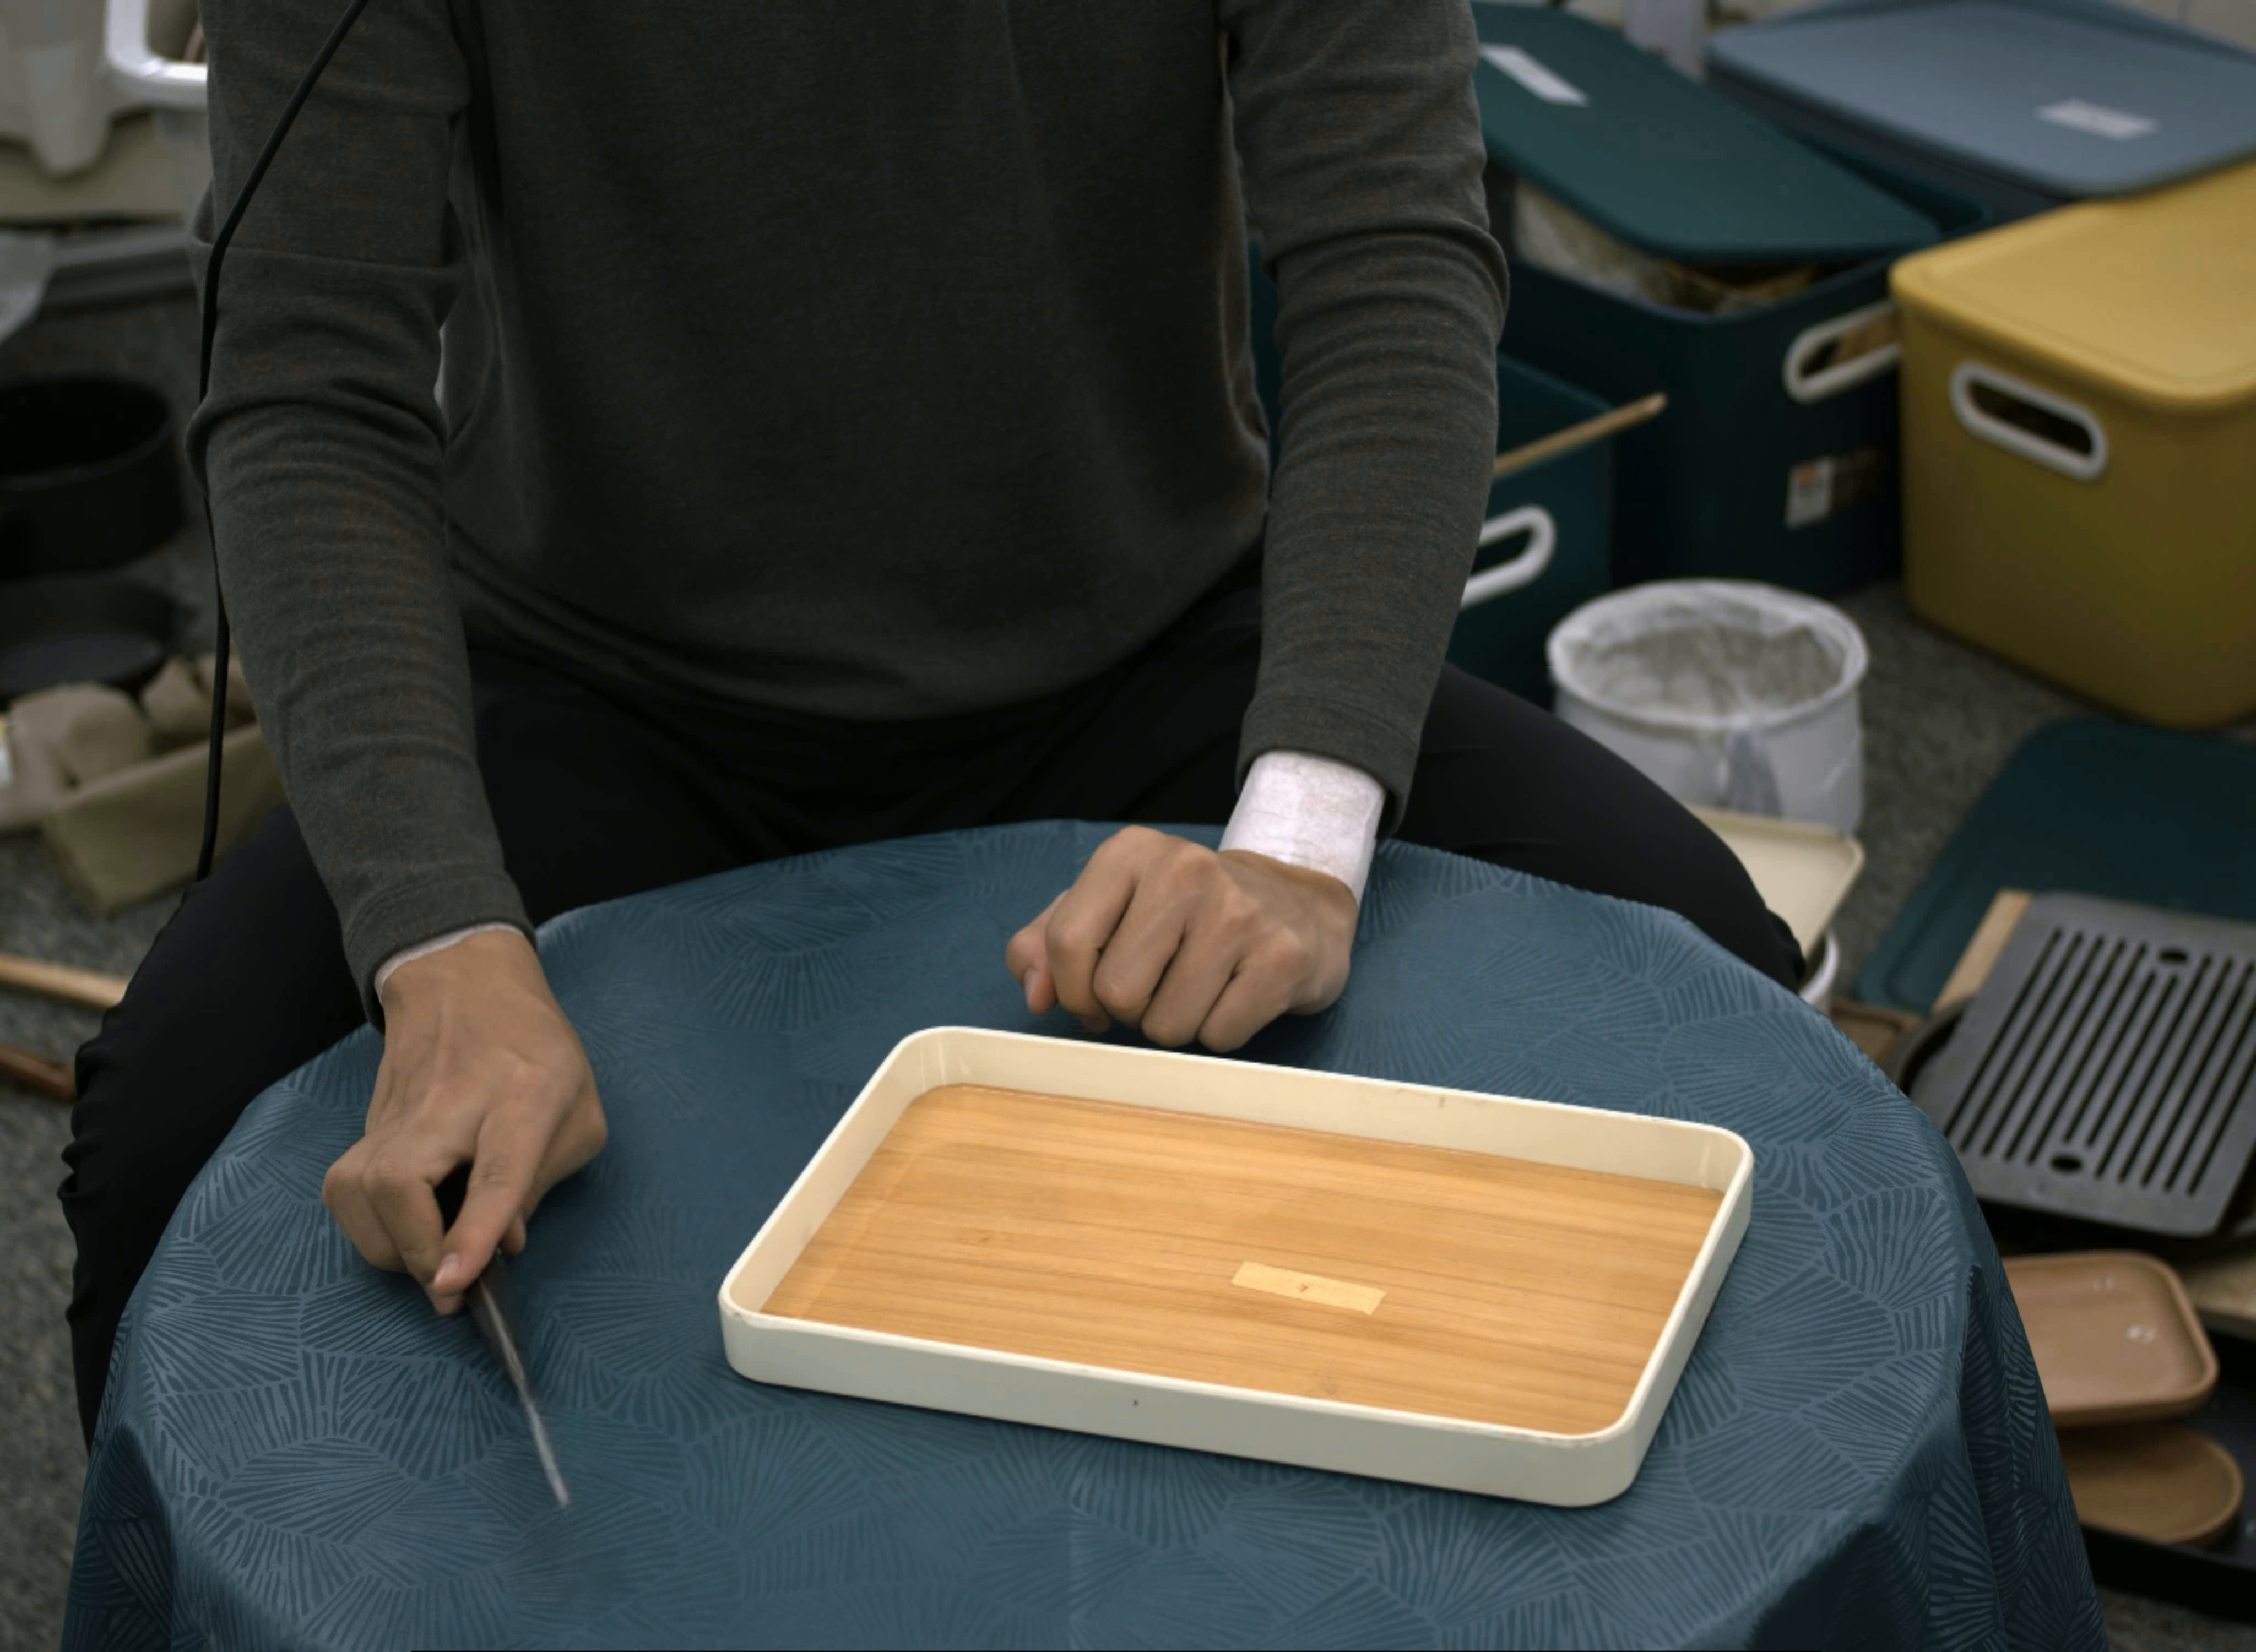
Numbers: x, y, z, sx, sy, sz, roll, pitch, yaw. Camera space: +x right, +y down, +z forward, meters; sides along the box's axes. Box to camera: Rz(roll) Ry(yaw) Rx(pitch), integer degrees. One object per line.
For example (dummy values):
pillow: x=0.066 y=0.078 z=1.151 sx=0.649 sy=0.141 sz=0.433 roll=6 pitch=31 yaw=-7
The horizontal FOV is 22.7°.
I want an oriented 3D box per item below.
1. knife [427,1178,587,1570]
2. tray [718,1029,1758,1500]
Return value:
knife: x=-0.193 y=0.169 z=1.756 sx=0.016 sy=0.024 sz=0.240 roll=-29 pitch=29 yaw=-3
tray: x=0.037 y=0.137 z=1.800 sx=0.298 sy=0.027 sz=0.195 roll=7 pitch=28 yaw=18
